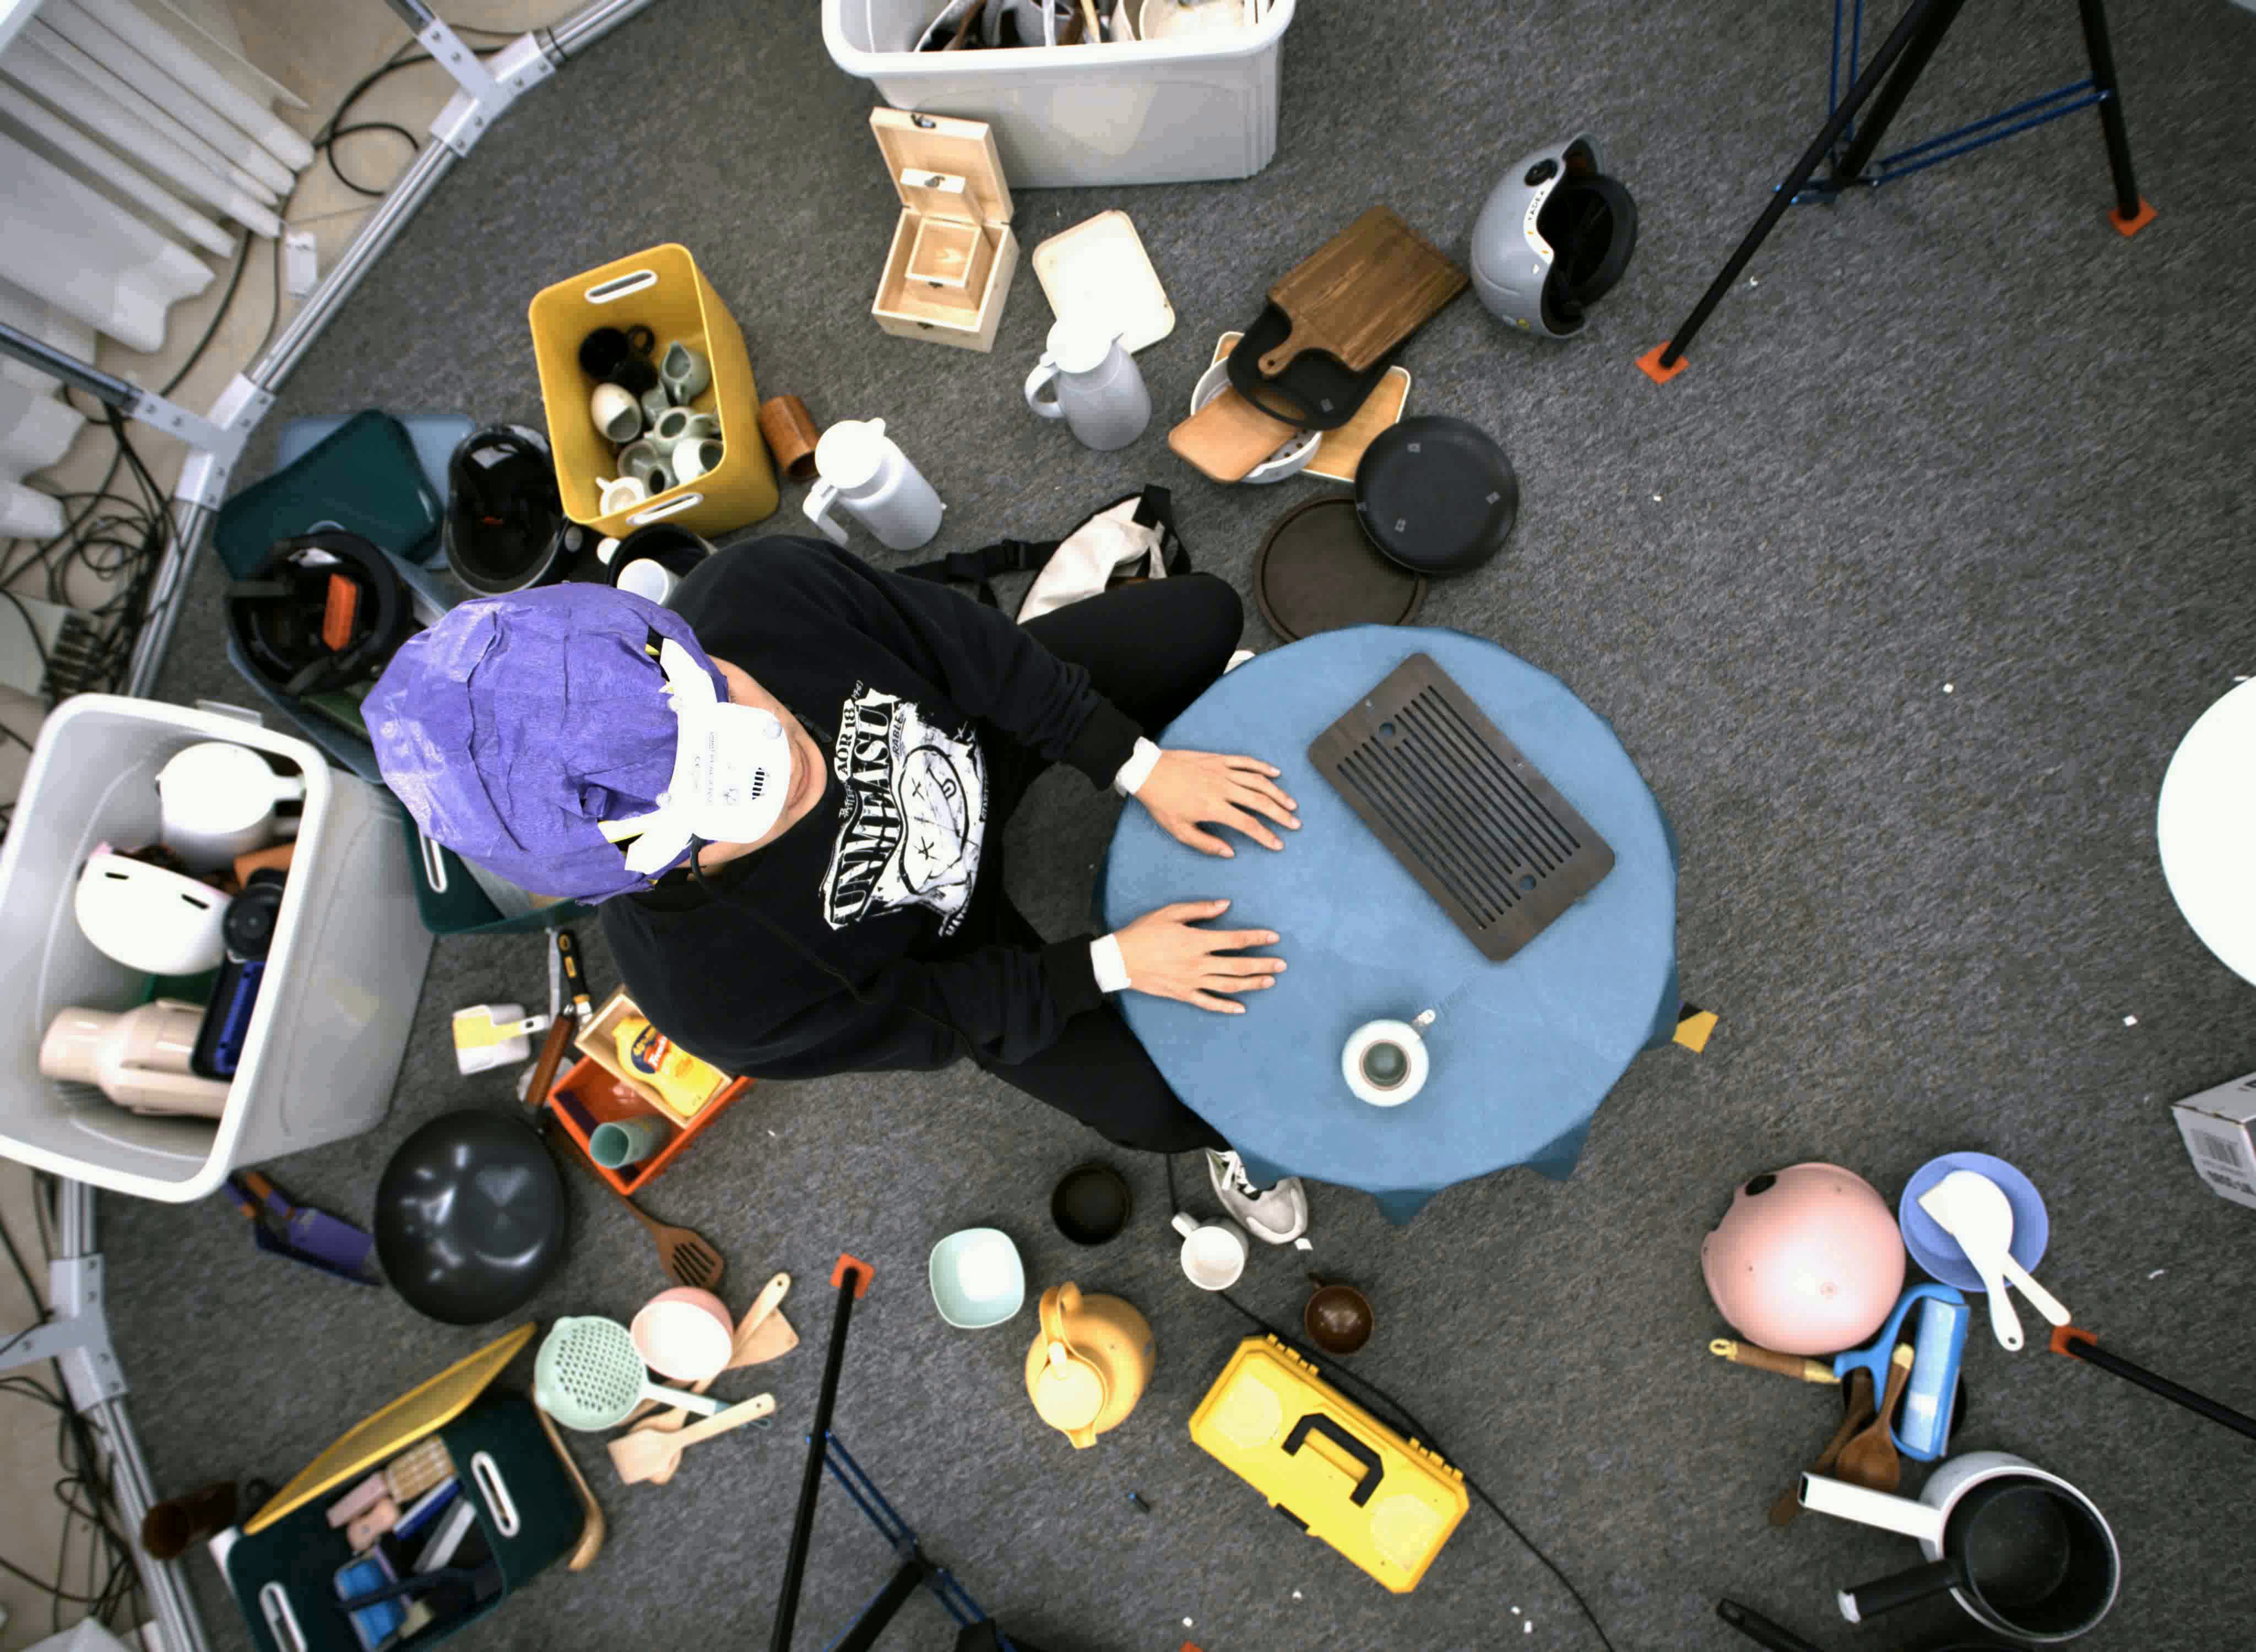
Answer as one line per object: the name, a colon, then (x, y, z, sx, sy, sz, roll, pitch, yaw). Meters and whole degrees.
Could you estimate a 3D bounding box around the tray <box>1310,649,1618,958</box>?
tray: (0.349, -0.027, 1.442, 0.171, 0.018, 0.304, -42, 80, 7)

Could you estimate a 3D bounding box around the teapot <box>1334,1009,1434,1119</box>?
teapot: (0.262, 0.240, 1.418, 0.088, 0.075, 0.144, 43, 93, 10)
